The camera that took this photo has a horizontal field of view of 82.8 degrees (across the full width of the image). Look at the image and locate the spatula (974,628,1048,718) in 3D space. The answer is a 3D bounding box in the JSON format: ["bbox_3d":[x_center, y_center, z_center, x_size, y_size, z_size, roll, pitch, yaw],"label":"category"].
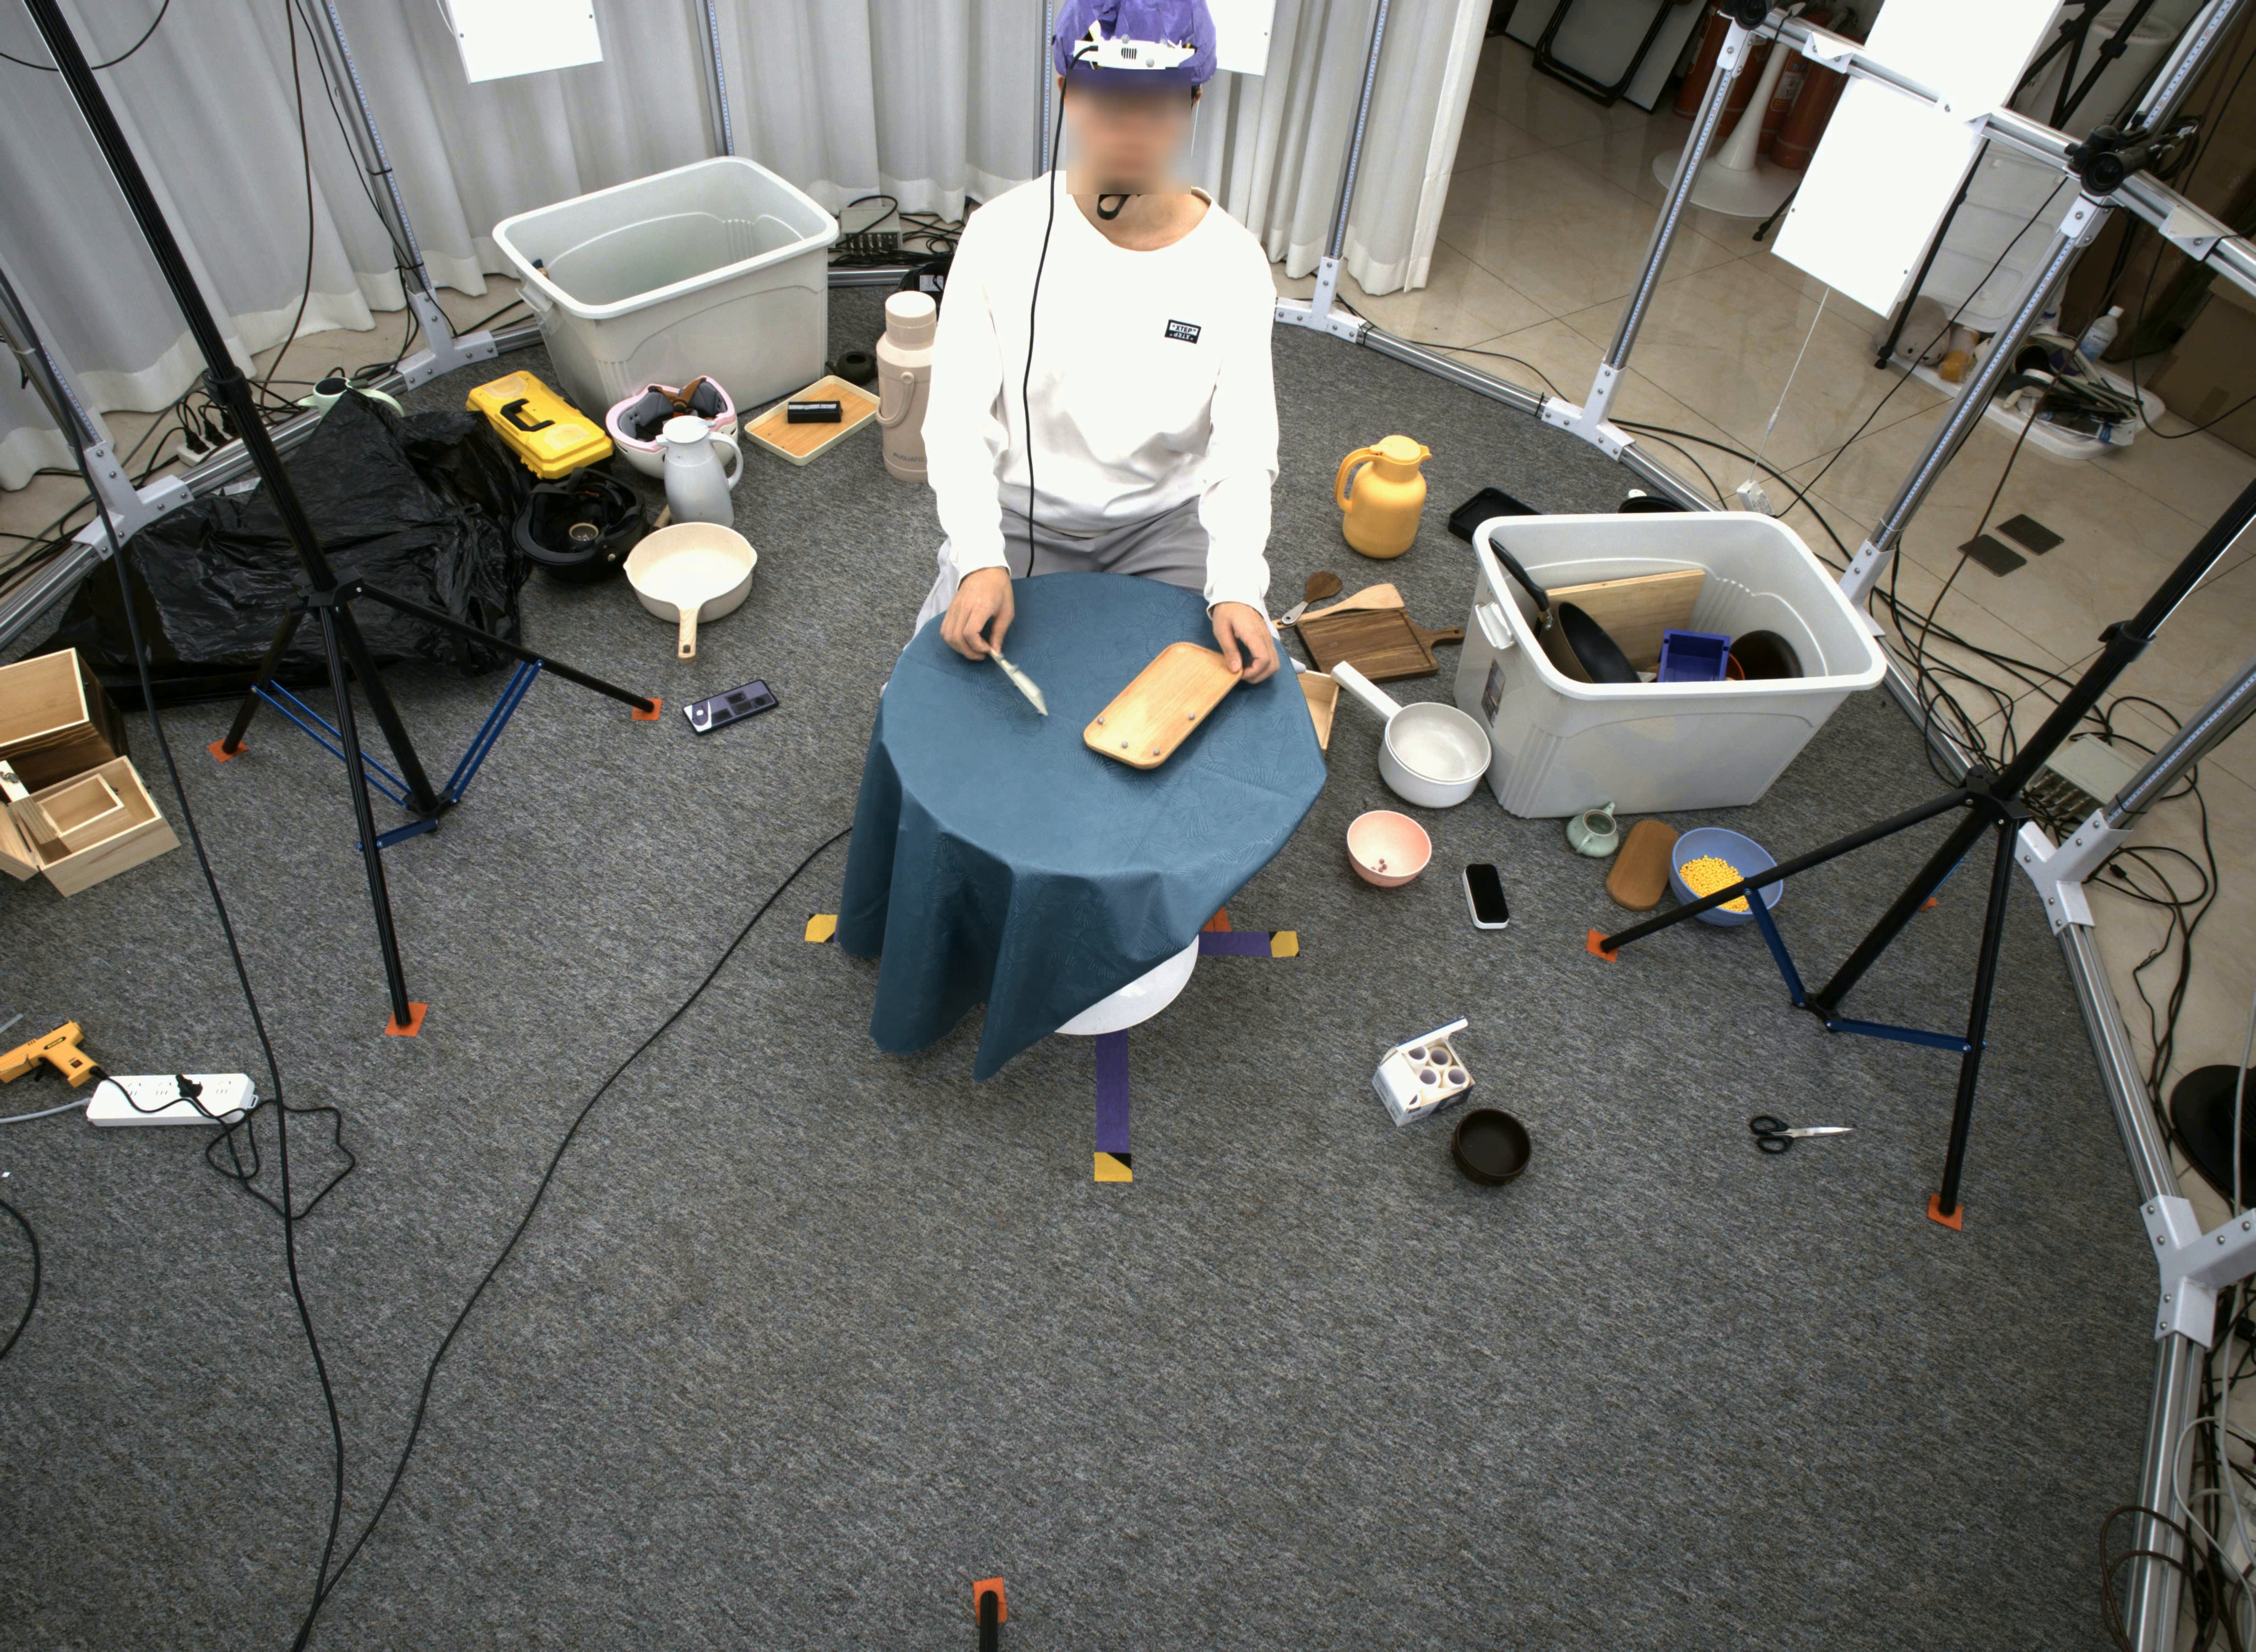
[{"bbox_3d":[-0.171,-0.222,1.818,0.005,0.049,0.212,-39,51,0],"label":"spatula"}]

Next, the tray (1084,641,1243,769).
[{"bbox_3d":[0.052,-0.172,1.792,0.132,0.022,0.254,26,53,25],"label":"tray"}]
